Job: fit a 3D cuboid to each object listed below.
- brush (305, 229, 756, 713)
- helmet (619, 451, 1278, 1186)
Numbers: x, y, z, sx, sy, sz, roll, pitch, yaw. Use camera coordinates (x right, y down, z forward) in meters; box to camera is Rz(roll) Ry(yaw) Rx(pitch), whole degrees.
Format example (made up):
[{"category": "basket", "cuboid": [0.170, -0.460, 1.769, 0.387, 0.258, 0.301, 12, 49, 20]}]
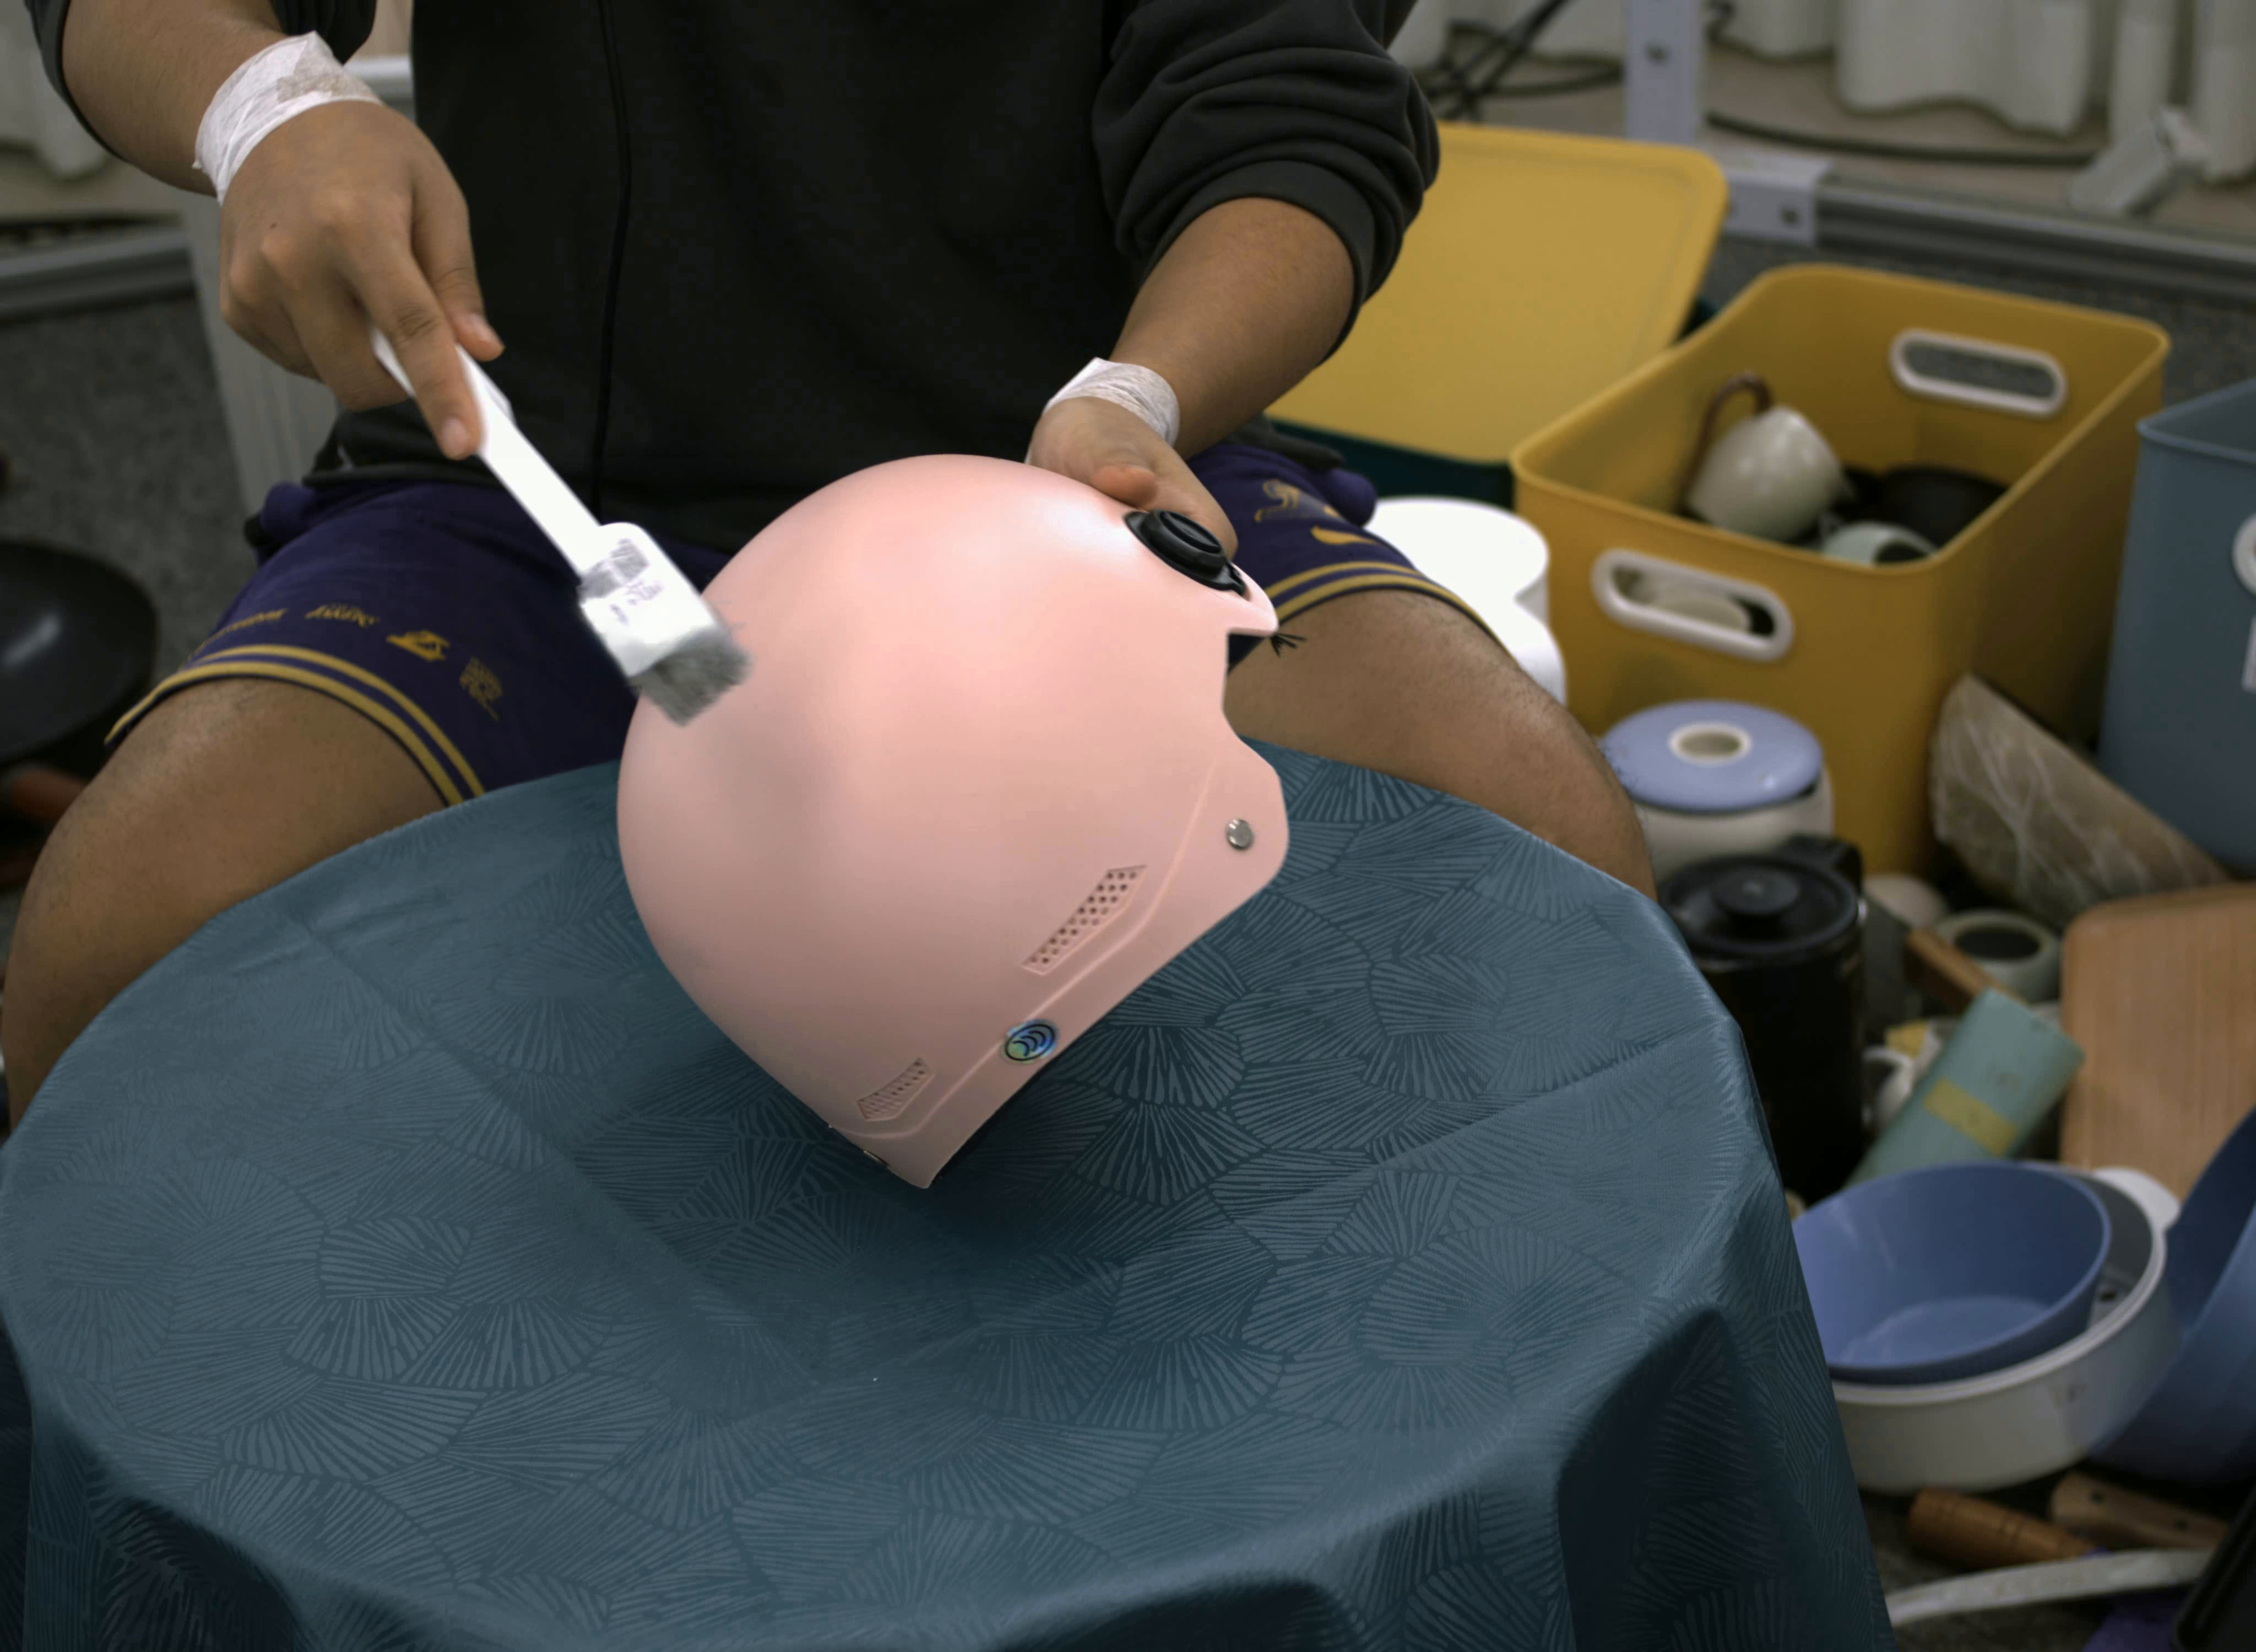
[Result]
[{"category": "brush", "cuboid": [-0.190, -0.113, 1.784, 0.034, 0.050, 0.245, -40, 50, -5]}, {"category": "helmet", "cuboid": [-0.078, -0.029, 1.858, 0.158, 0.231, 0.270, 34, 24, -27]}]
